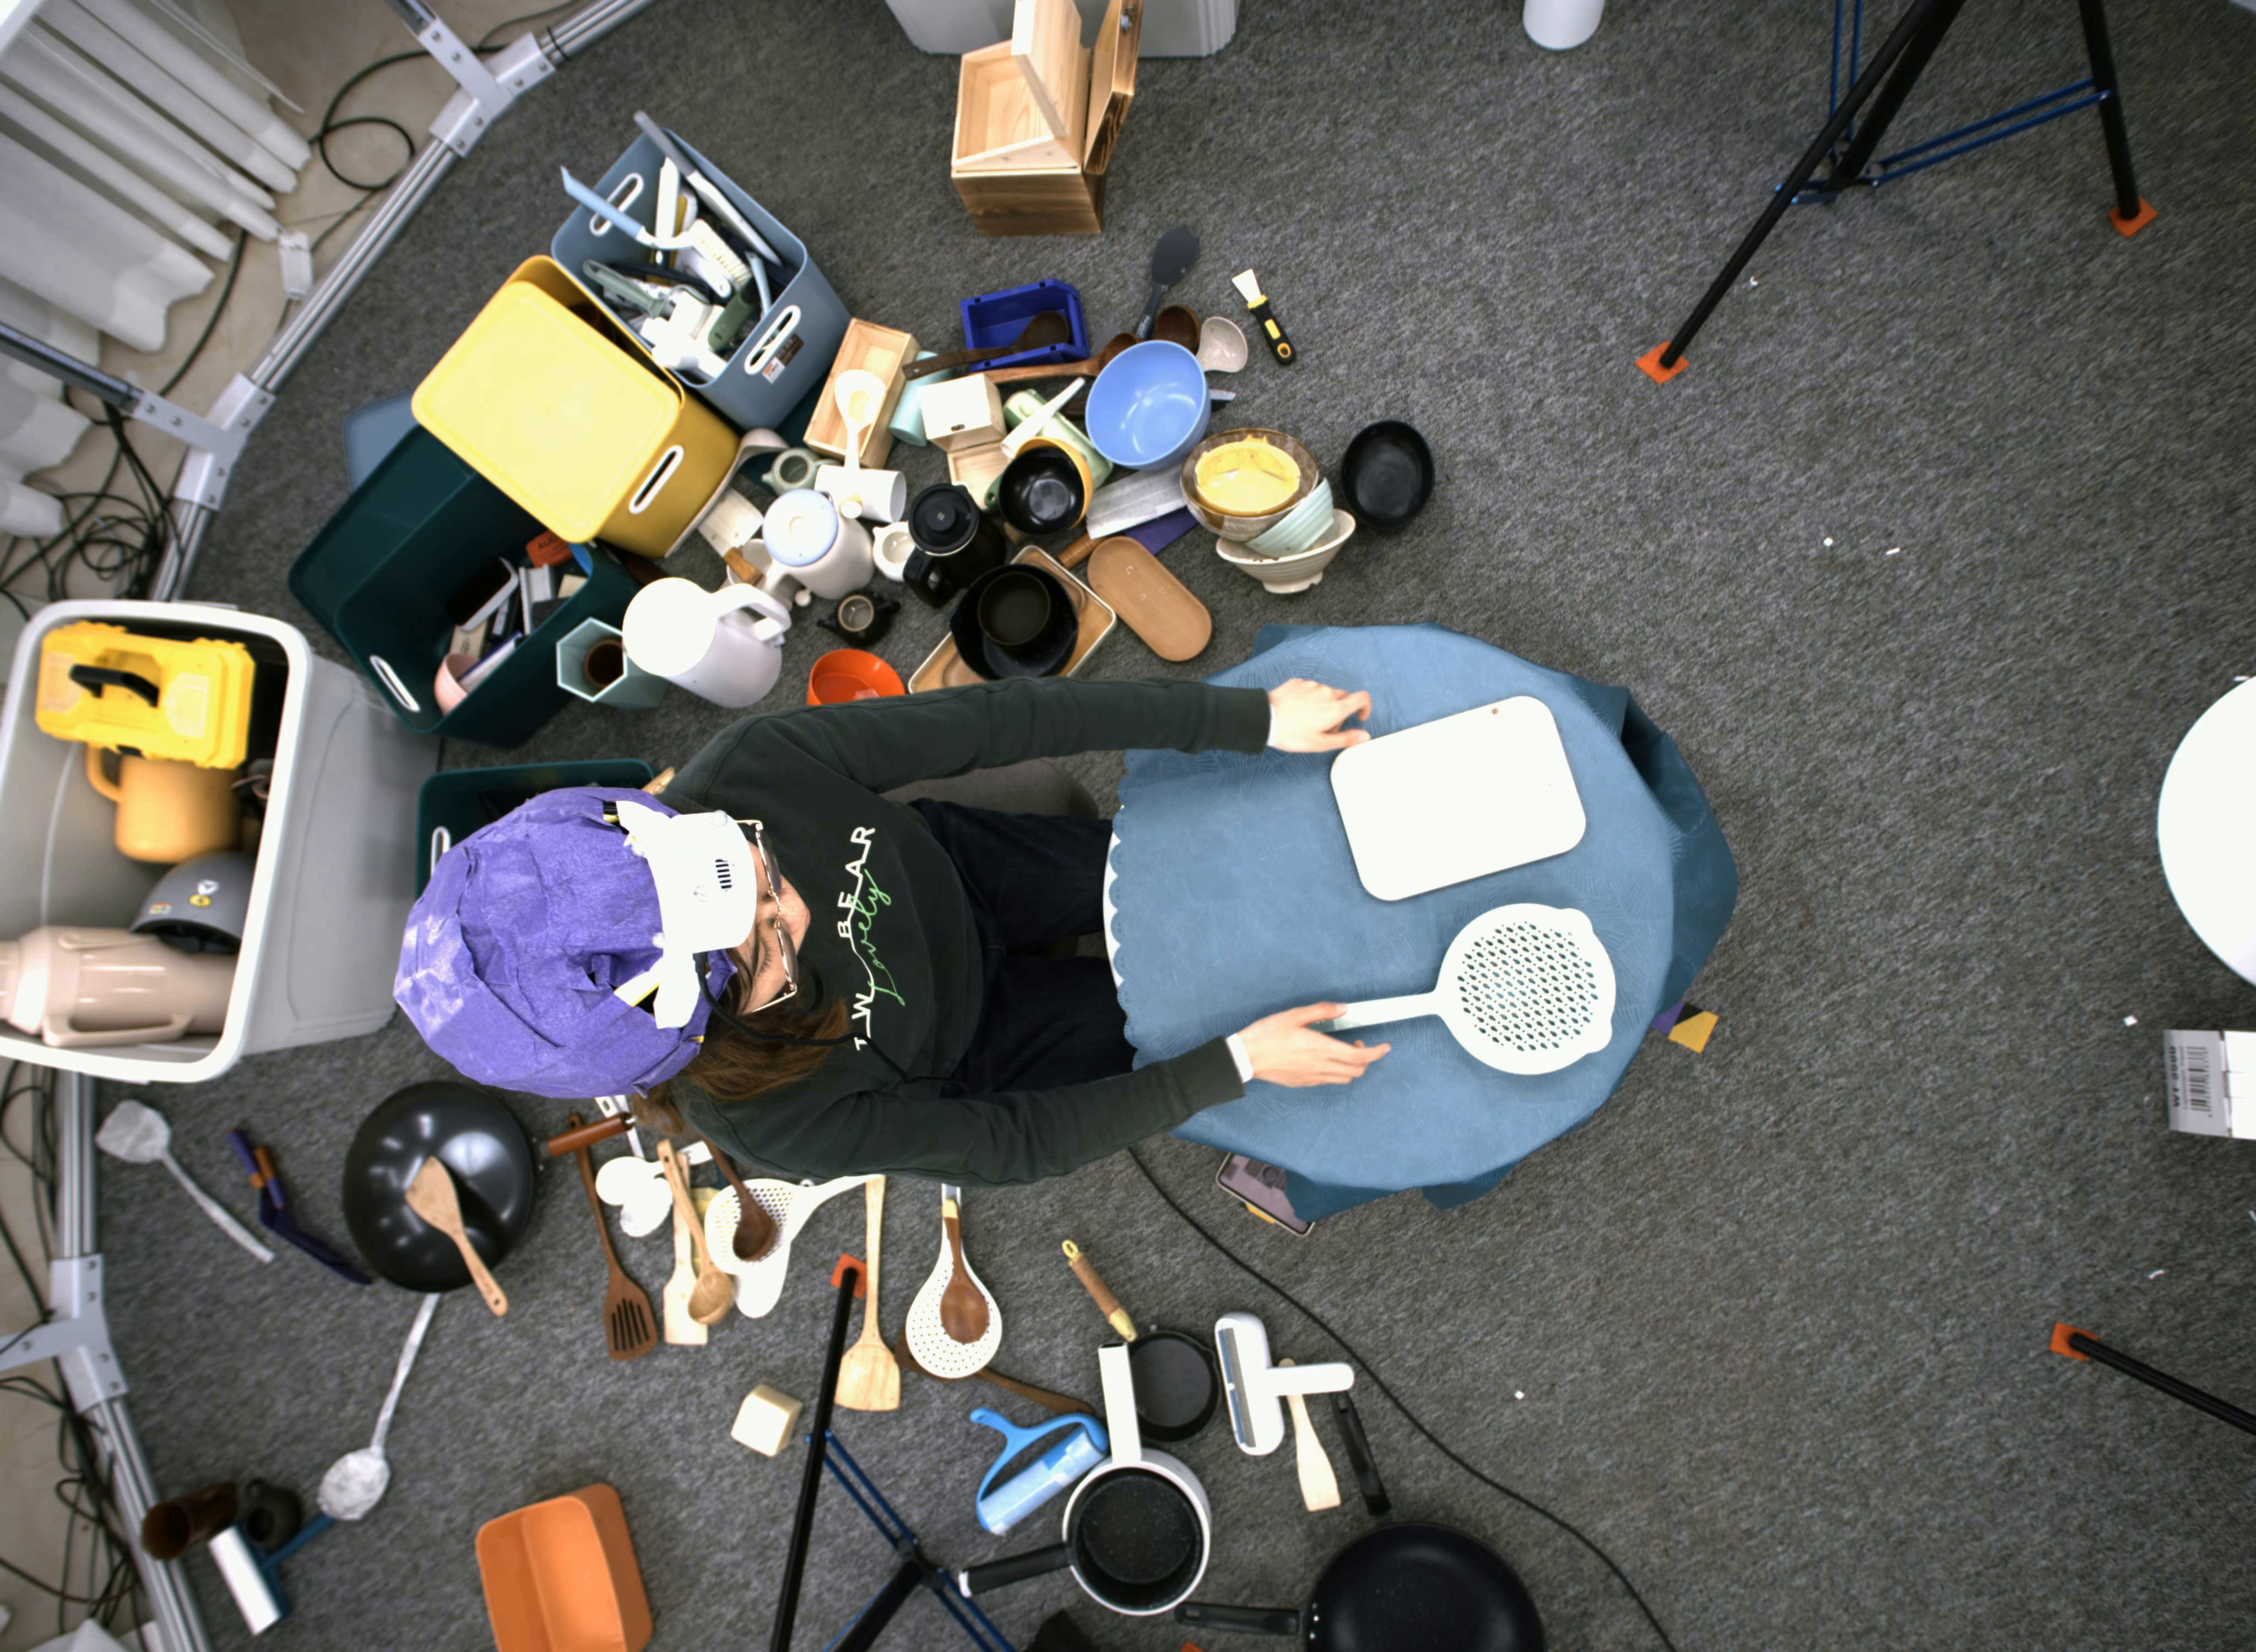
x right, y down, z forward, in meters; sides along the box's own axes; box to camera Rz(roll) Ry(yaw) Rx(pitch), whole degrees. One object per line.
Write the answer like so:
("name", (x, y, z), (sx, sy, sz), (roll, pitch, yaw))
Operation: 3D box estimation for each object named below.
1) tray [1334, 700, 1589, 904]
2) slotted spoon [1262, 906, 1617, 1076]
("tray", (0.349, -0.027, 1.449), (0.241, 0.017, 0.170), (-17, 83, 10))
("slotted spoon", (0.312, 0.182, 1.418), (0.361, 0.075, 0.168), (-10, 83, 10))
